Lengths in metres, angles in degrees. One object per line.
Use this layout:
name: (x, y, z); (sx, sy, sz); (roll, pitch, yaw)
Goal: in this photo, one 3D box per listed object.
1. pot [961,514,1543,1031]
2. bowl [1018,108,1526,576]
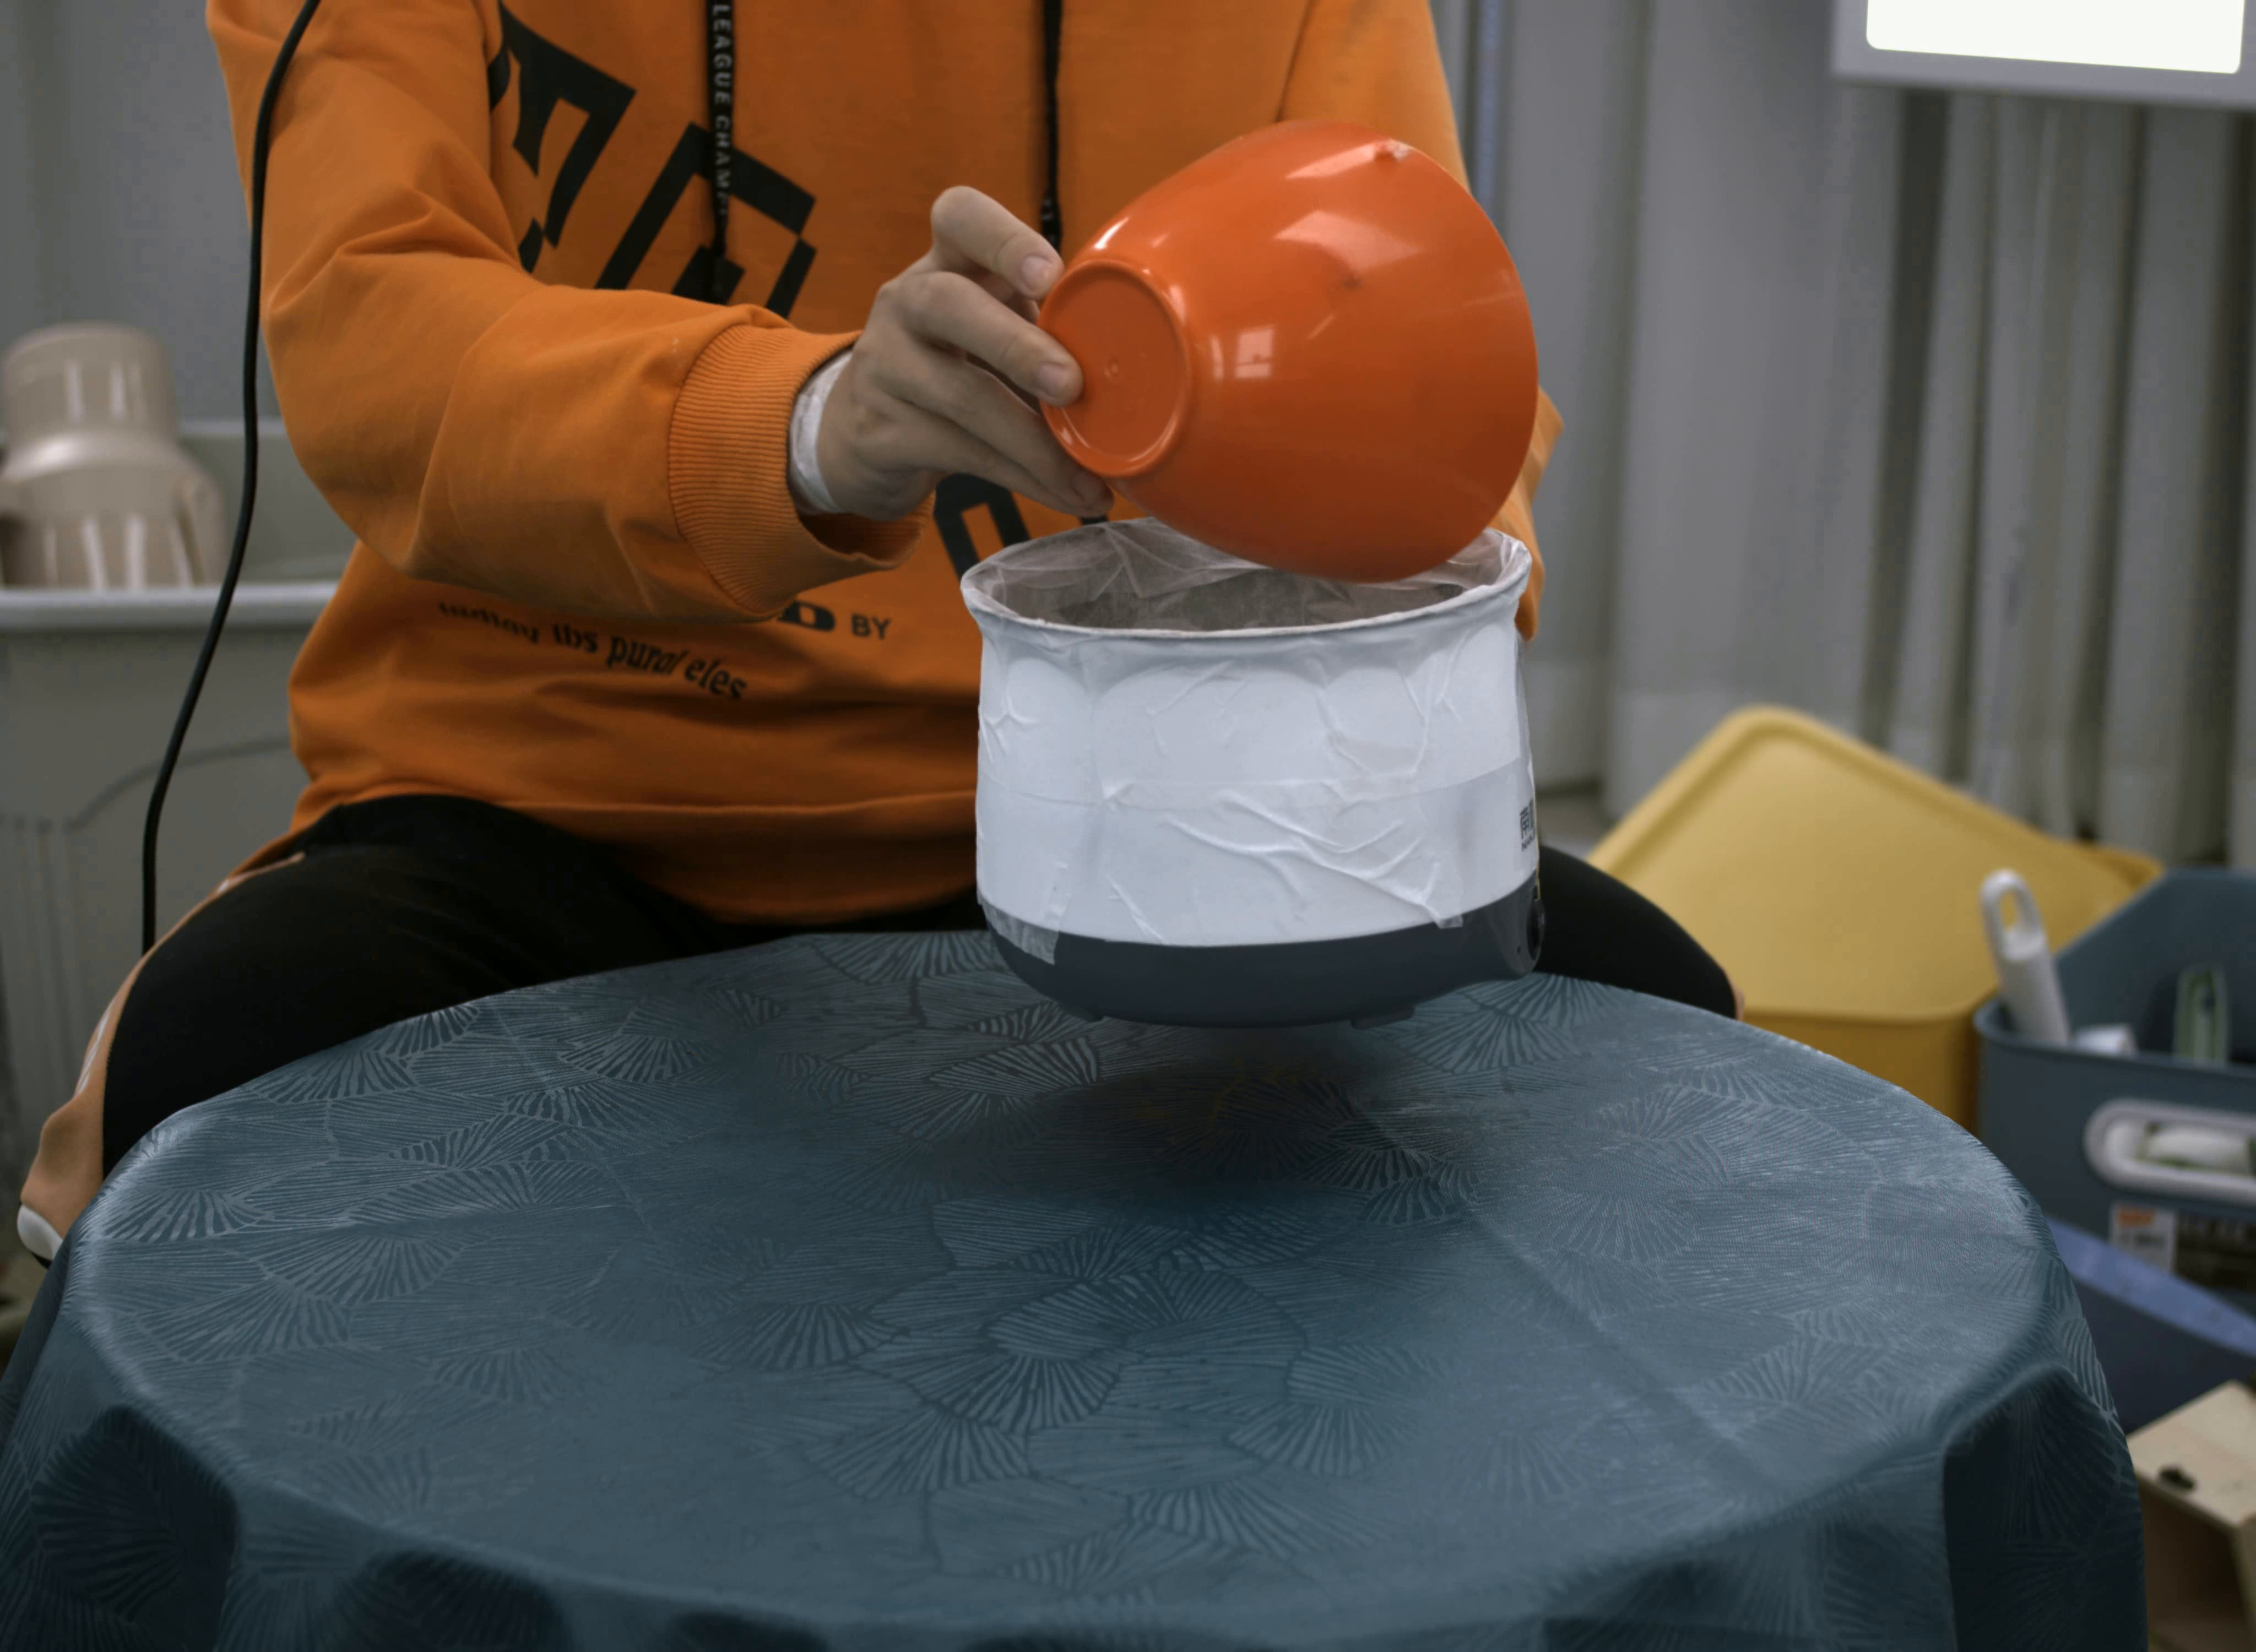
pot: (0.045, -0.026, 1.668); (0.177, 0.138, 0.233); (1, 16, 12)
bowl: (0.033, -0.144, 1.615); (0.146, 0.149, 0.105); (15, 21, 40)
